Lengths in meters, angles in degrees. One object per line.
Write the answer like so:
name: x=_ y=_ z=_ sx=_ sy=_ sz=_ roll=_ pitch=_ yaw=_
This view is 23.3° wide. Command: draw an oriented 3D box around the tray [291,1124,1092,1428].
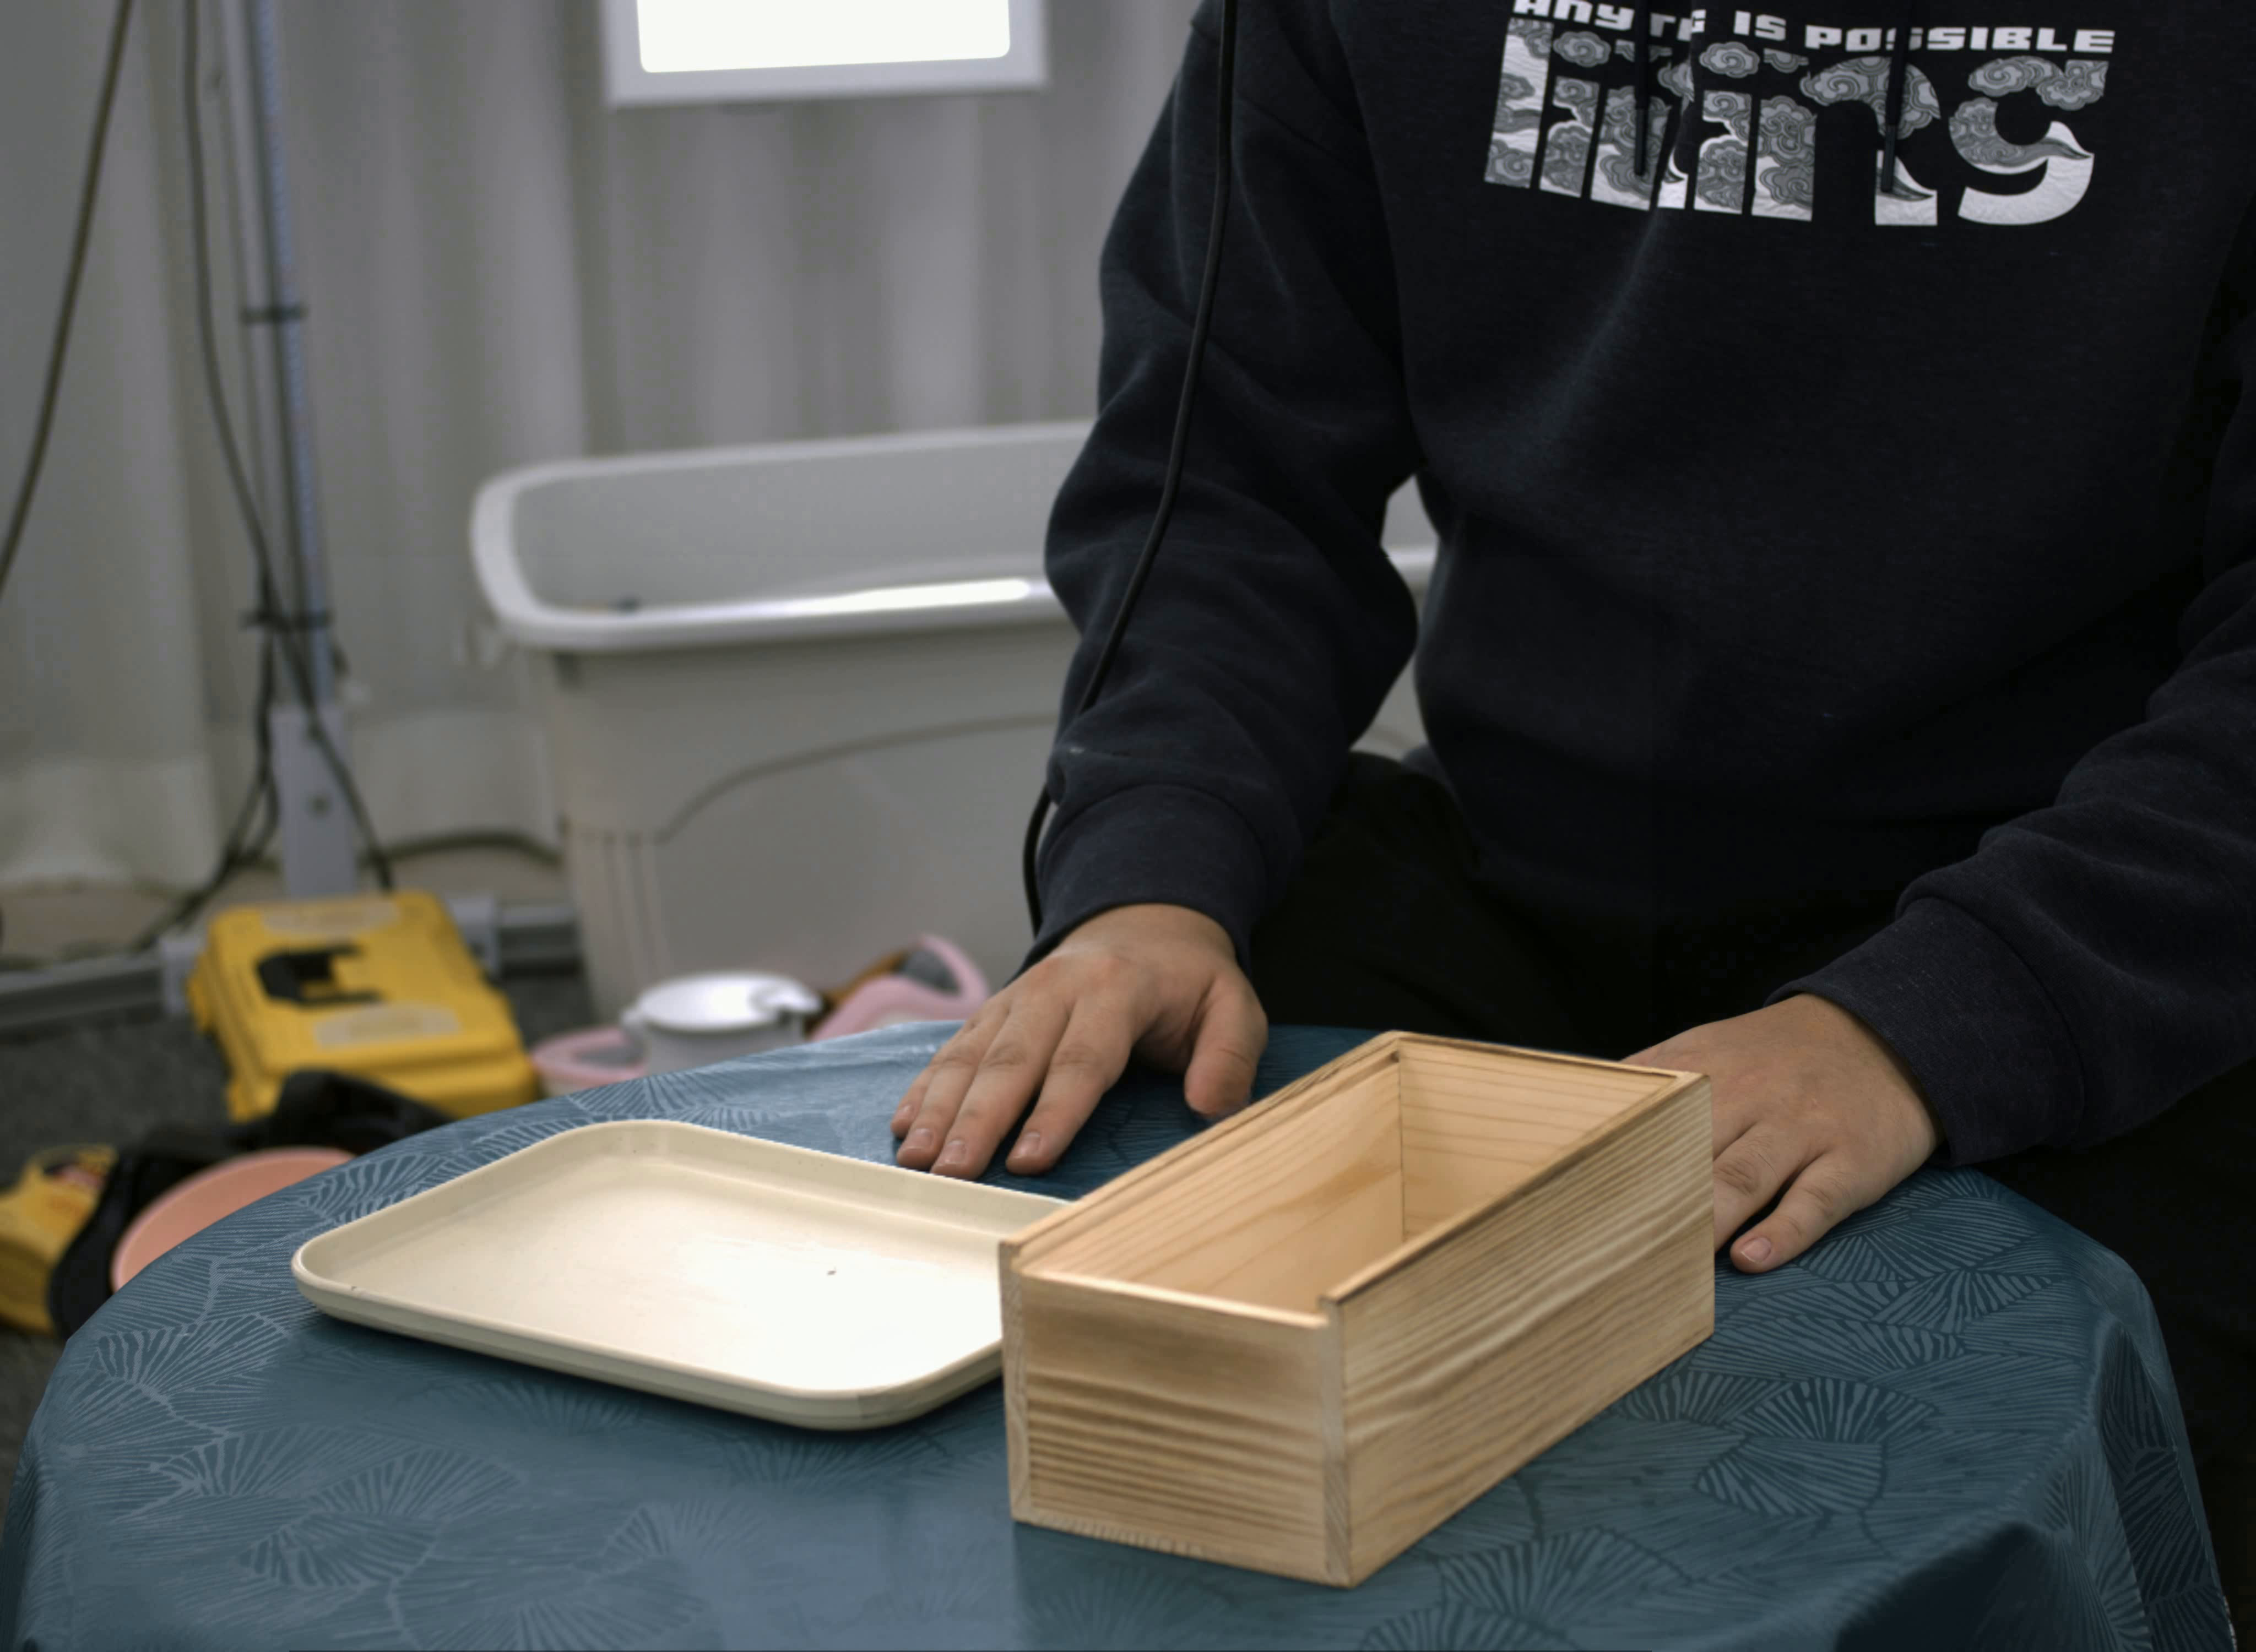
tray: x=-0.117 y=0.133 z=1.634 sx=0.240 sy=0.017 sz=0.171 roll=8 pitch=18 yaw=35

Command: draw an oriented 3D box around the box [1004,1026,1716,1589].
box: x=0.068 y=0.127 z=1.503 sx=0.108 sy=0.080 sz=0.211 roll=7 pitch=17 yaw=31
